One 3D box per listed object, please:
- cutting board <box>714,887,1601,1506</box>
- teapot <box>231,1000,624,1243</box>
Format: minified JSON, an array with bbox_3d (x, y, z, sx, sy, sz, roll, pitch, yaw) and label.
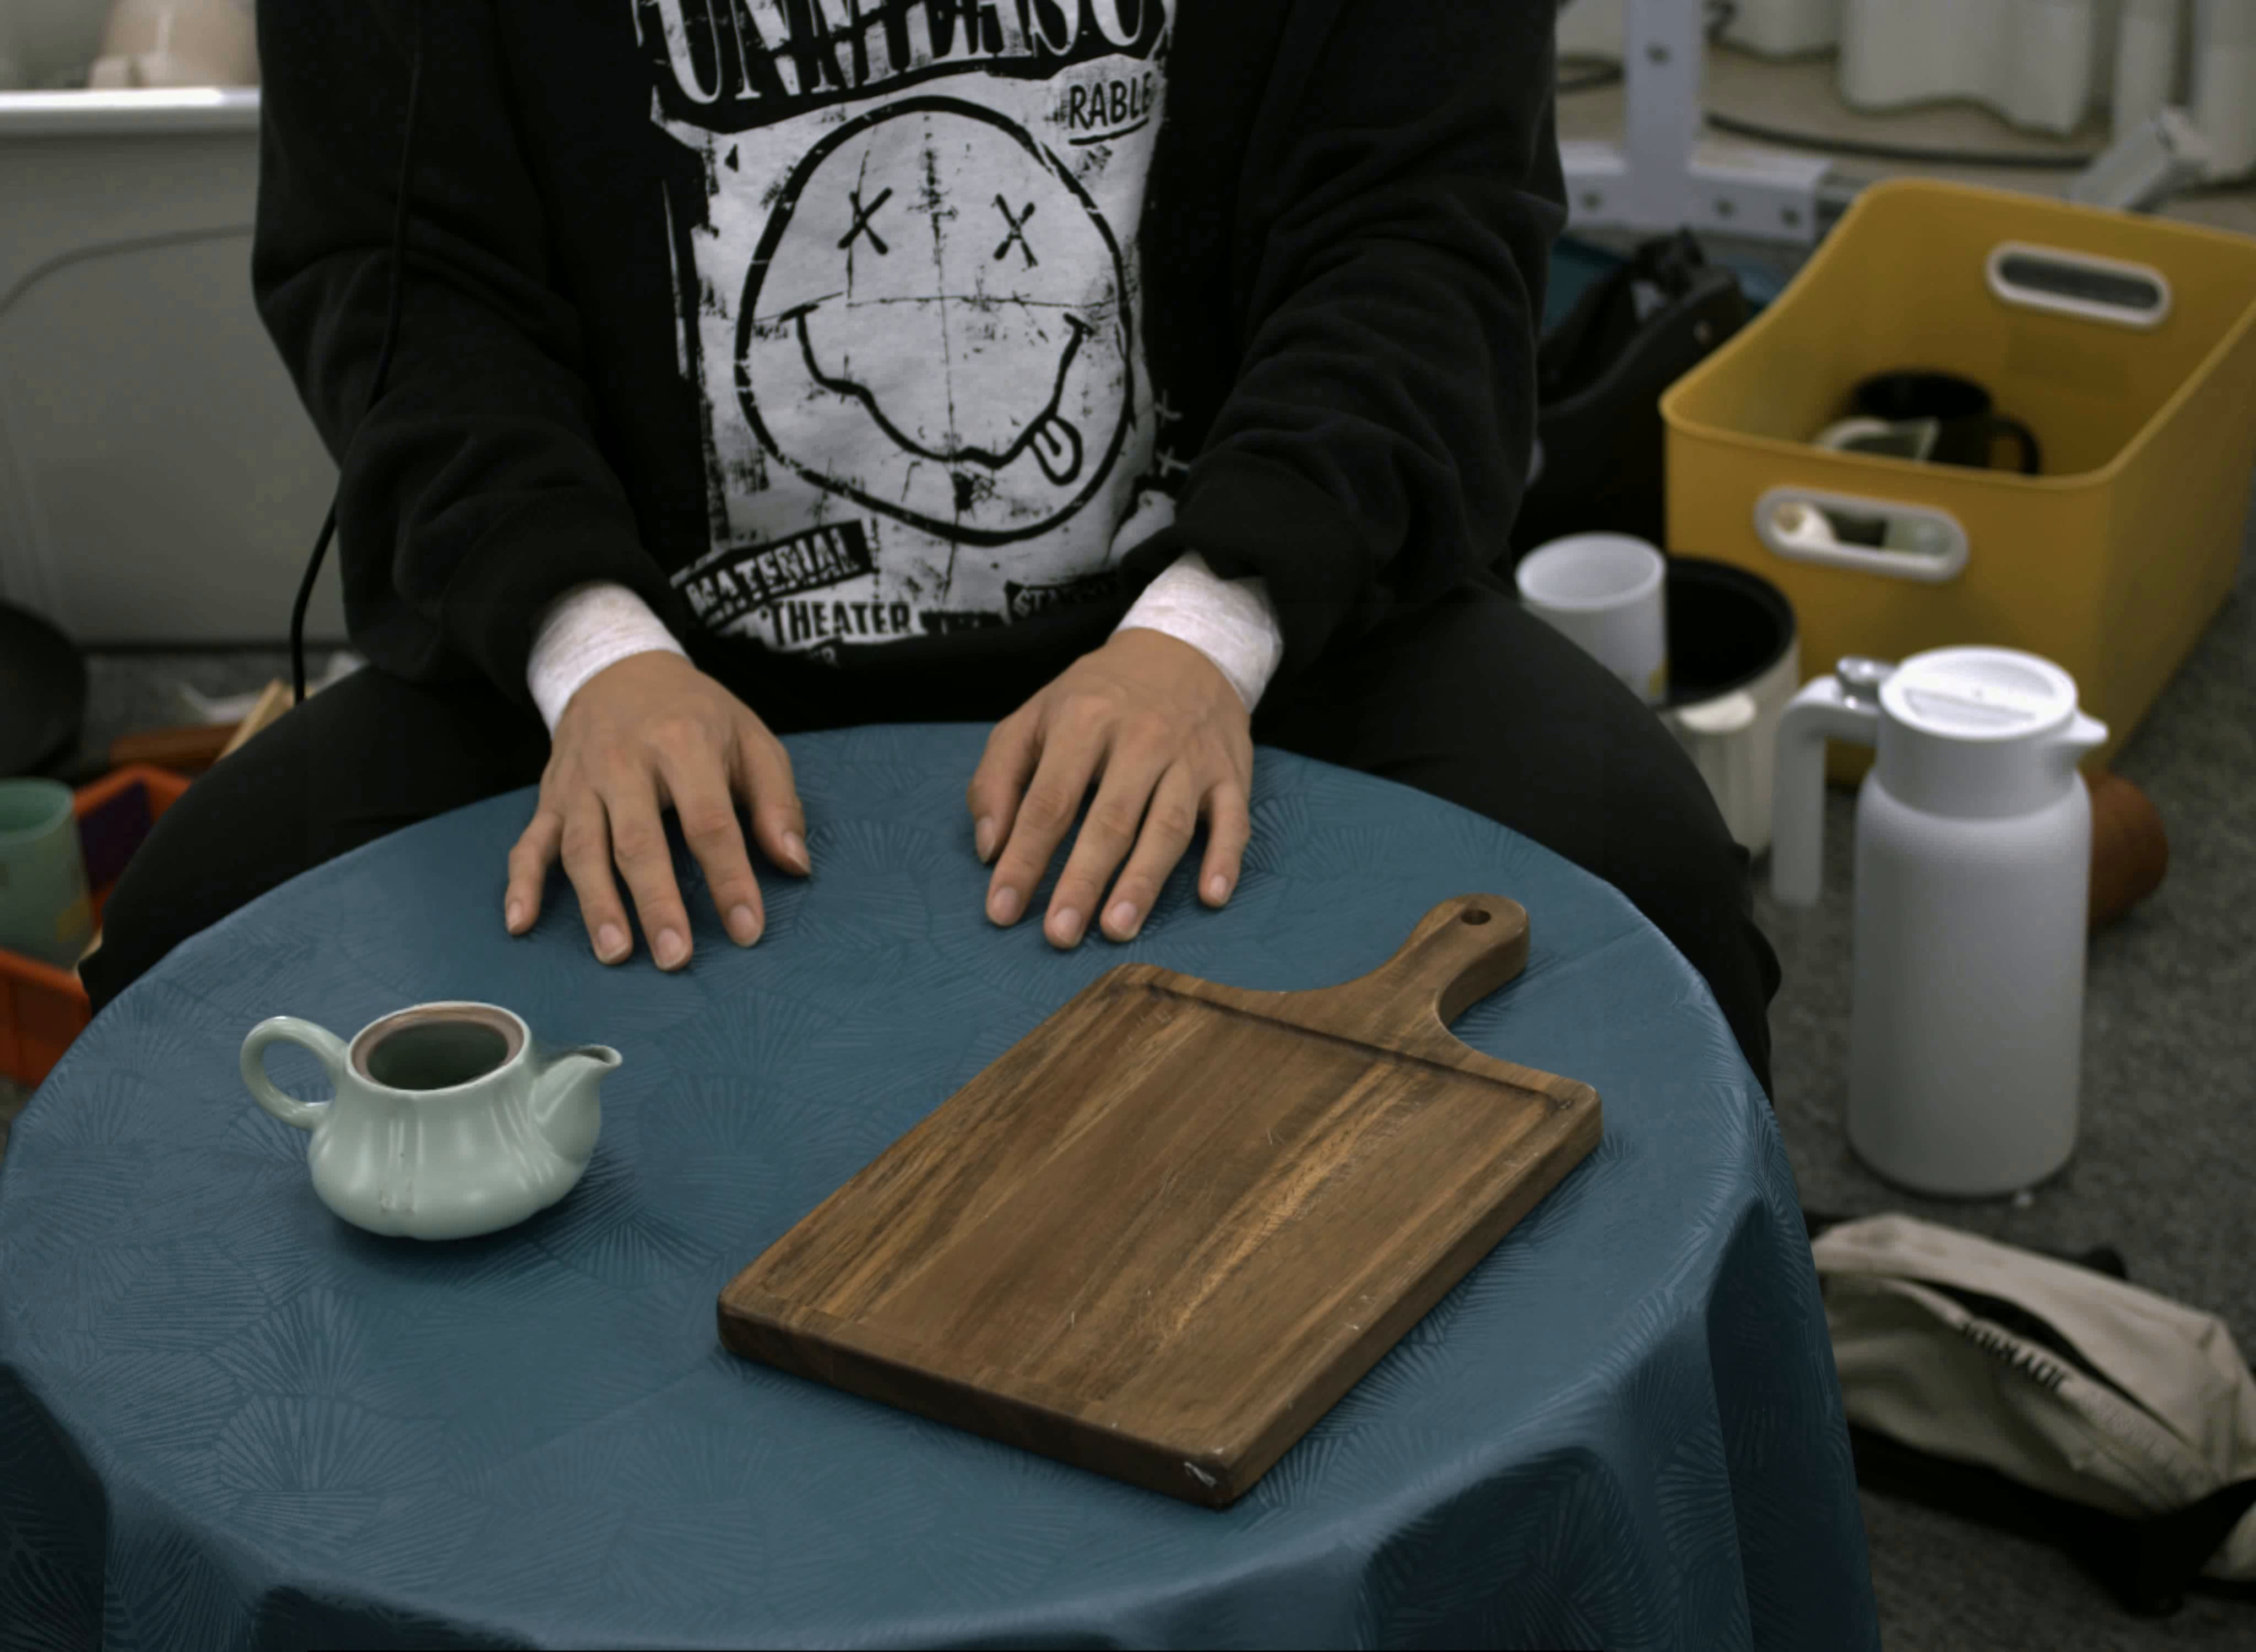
[{"bbox_3d":[0.038,0.106,1.862,0.200,0.023,0.358,14,32,28],"label":"cutting board"},{"bbox_3d":[-0.231,0.096,1.866,0.136,0.061,0.098,3,29,11],"label":"teapot"}]
